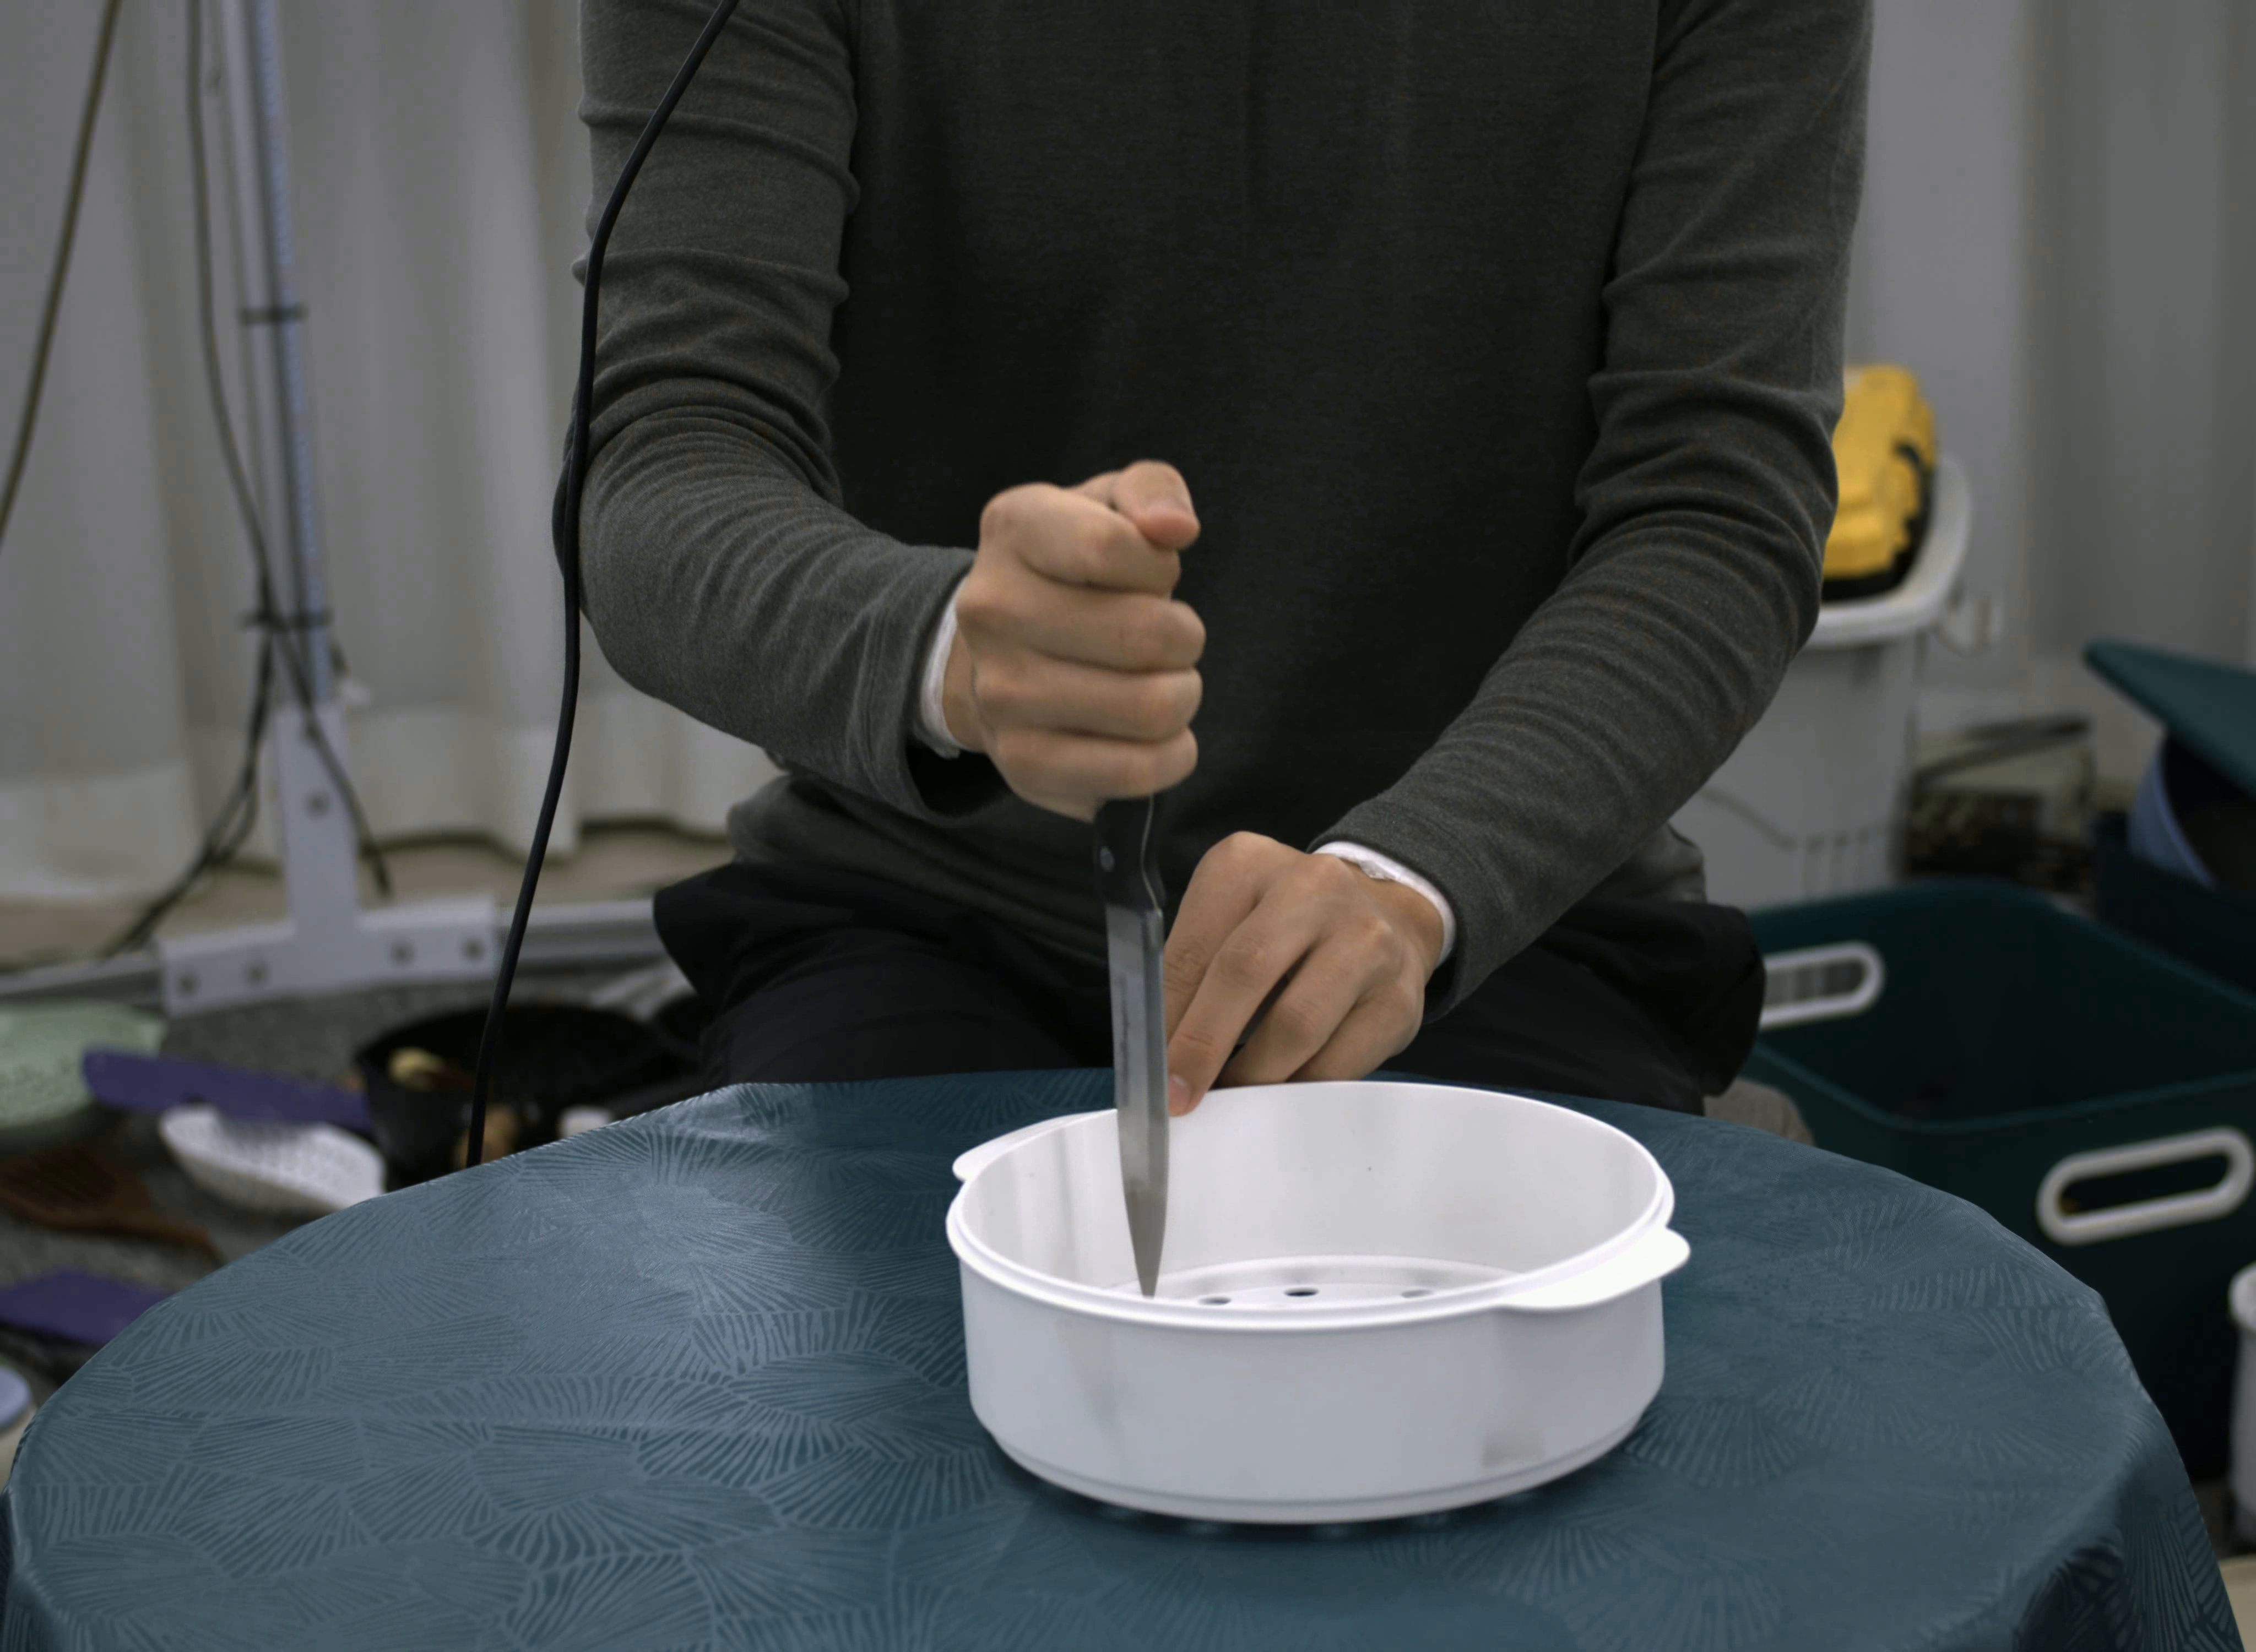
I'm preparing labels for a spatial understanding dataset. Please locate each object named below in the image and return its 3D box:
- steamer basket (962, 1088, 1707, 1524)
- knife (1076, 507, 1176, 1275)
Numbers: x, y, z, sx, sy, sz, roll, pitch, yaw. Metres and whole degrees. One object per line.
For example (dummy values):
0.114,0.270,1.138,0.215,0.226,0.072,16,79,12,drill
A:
0.055,0.132,1.510,0.231,0.069,0.201,9,18,41,steamer basket
0.001,0.026,1.532,0.016,0.237,0.024,-16,20,-35,knife
